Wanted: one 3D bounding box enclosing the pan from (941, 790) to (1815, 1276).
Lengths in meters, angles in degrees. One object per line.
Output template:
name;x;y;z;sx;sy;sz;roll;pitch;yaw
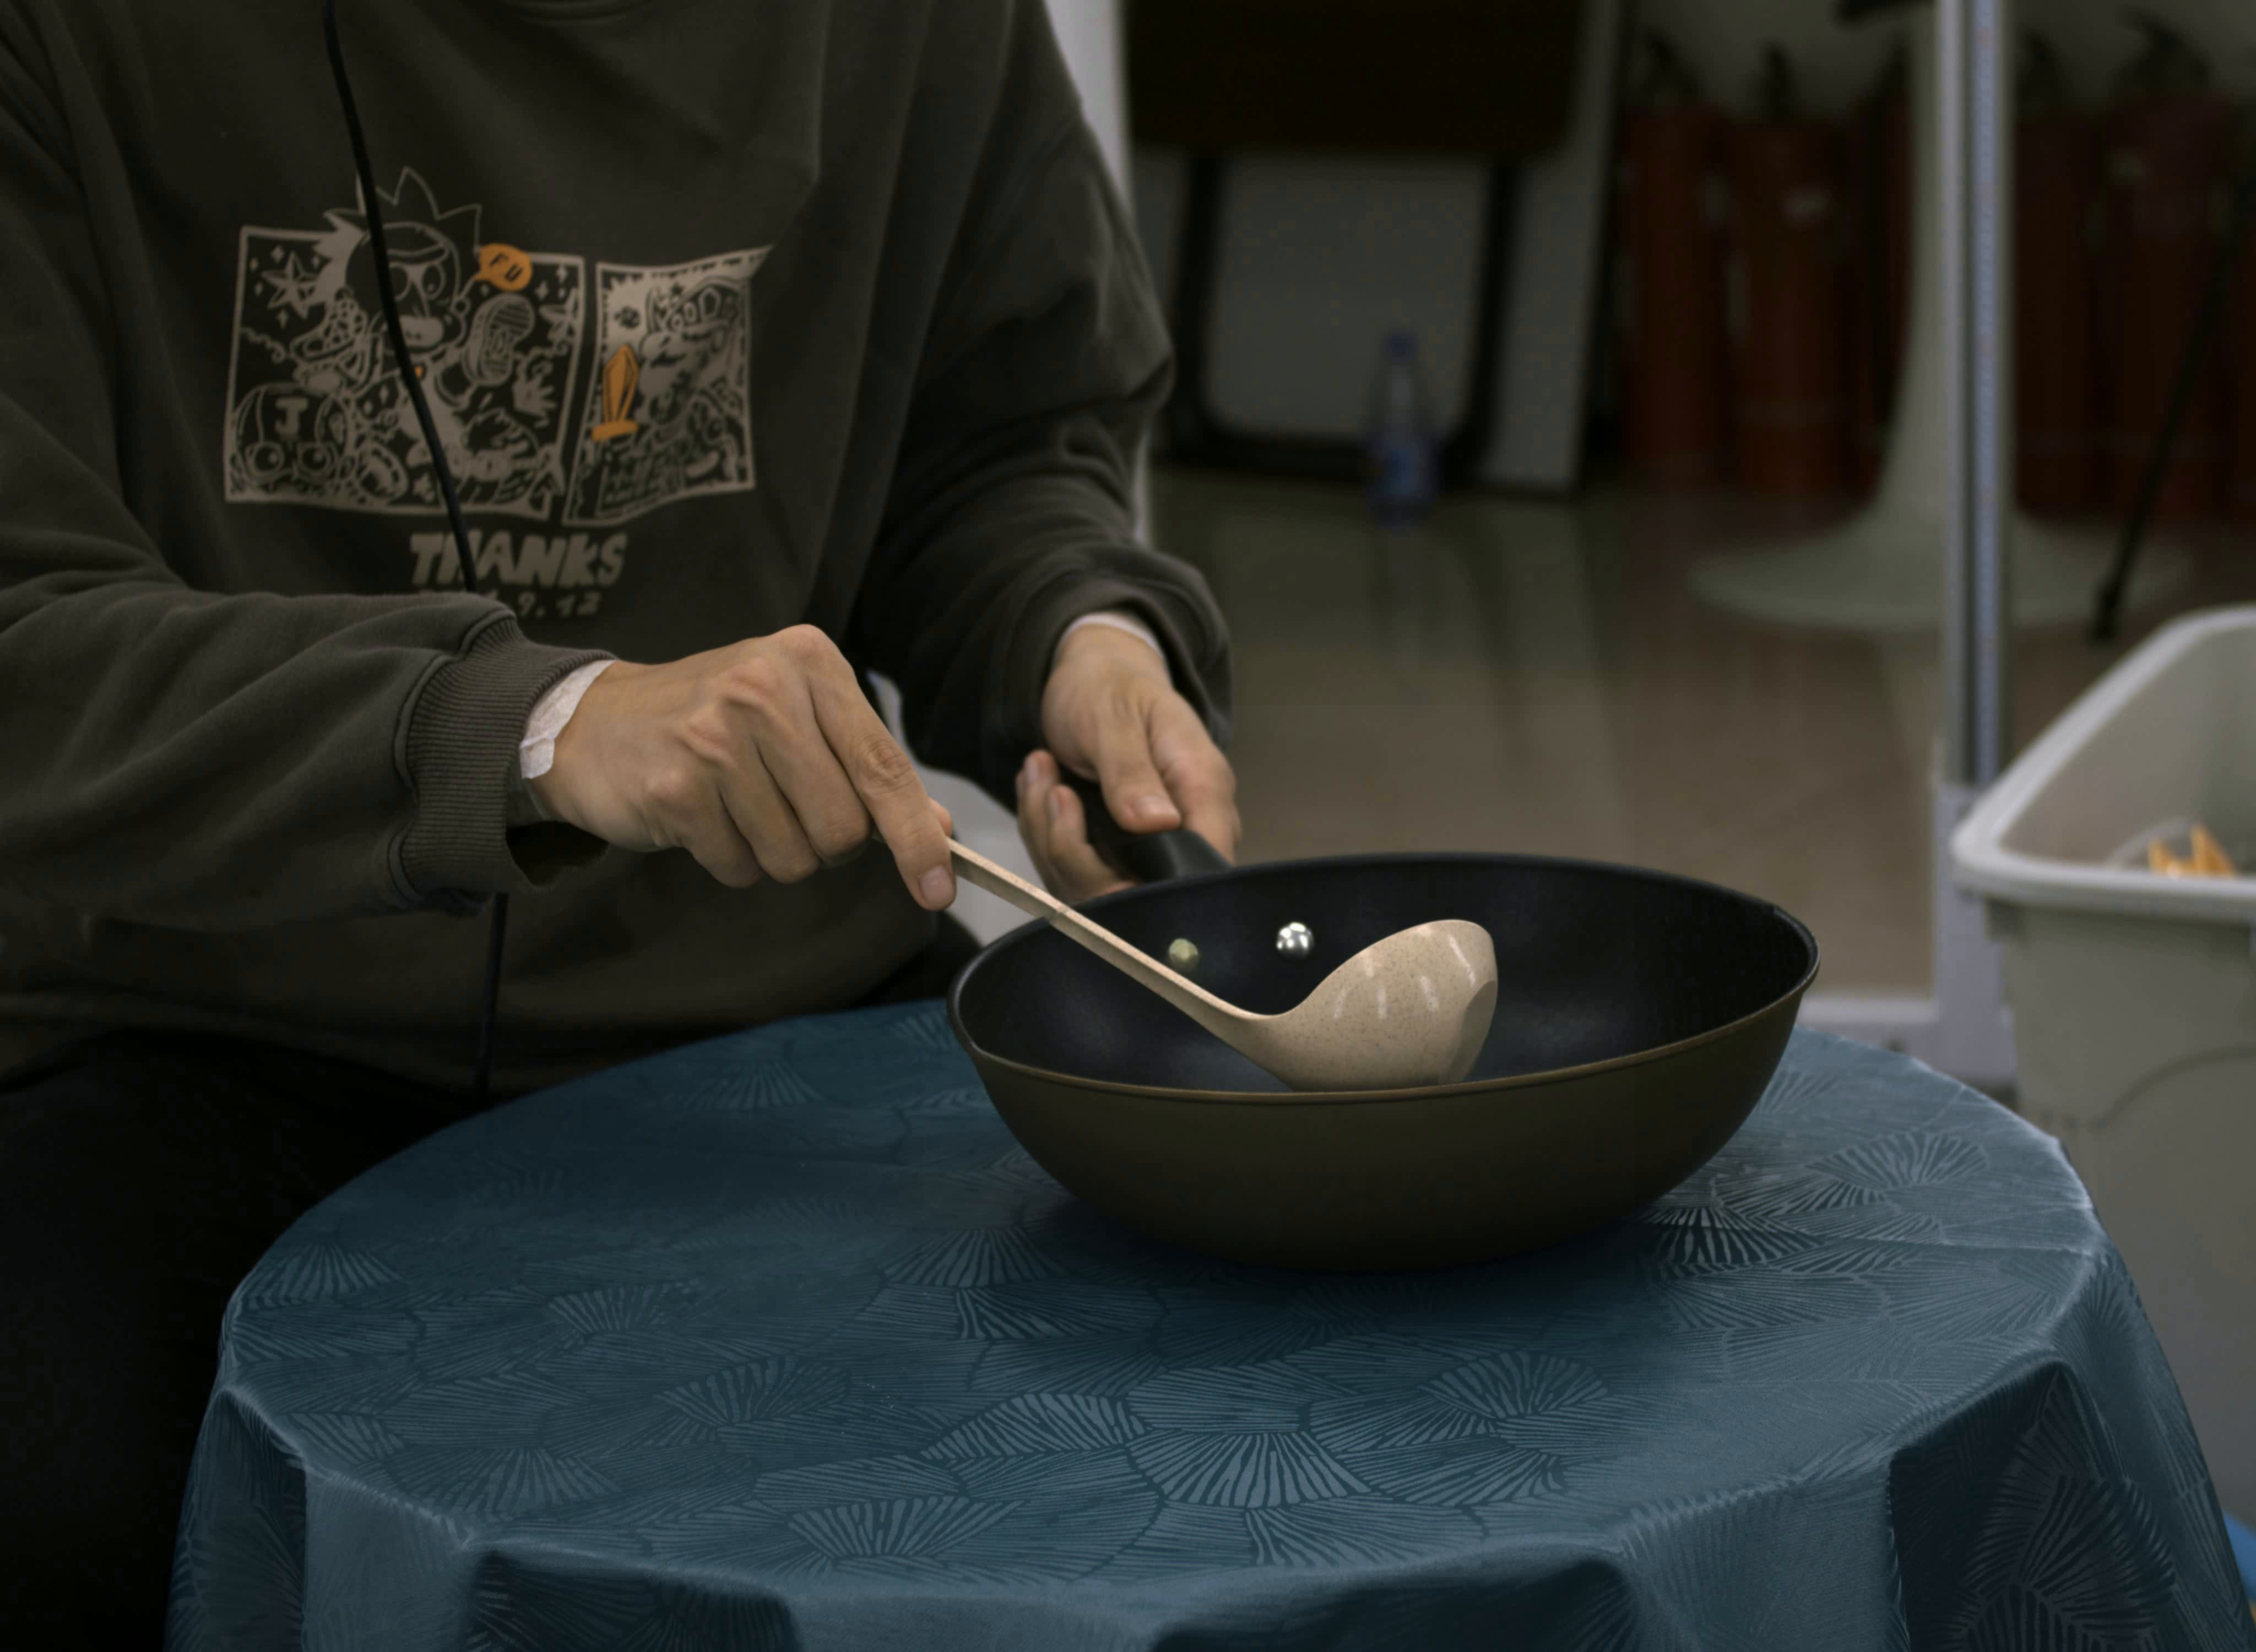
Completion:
pan;0.050;0.066;1.815;0.282;0.088;0.467;-9;13;-18

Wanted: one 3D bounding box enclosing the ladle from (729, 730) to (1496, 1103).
ladle;-0.002;0.007;1.661;0.255;0.072;0.072;31;68;20
